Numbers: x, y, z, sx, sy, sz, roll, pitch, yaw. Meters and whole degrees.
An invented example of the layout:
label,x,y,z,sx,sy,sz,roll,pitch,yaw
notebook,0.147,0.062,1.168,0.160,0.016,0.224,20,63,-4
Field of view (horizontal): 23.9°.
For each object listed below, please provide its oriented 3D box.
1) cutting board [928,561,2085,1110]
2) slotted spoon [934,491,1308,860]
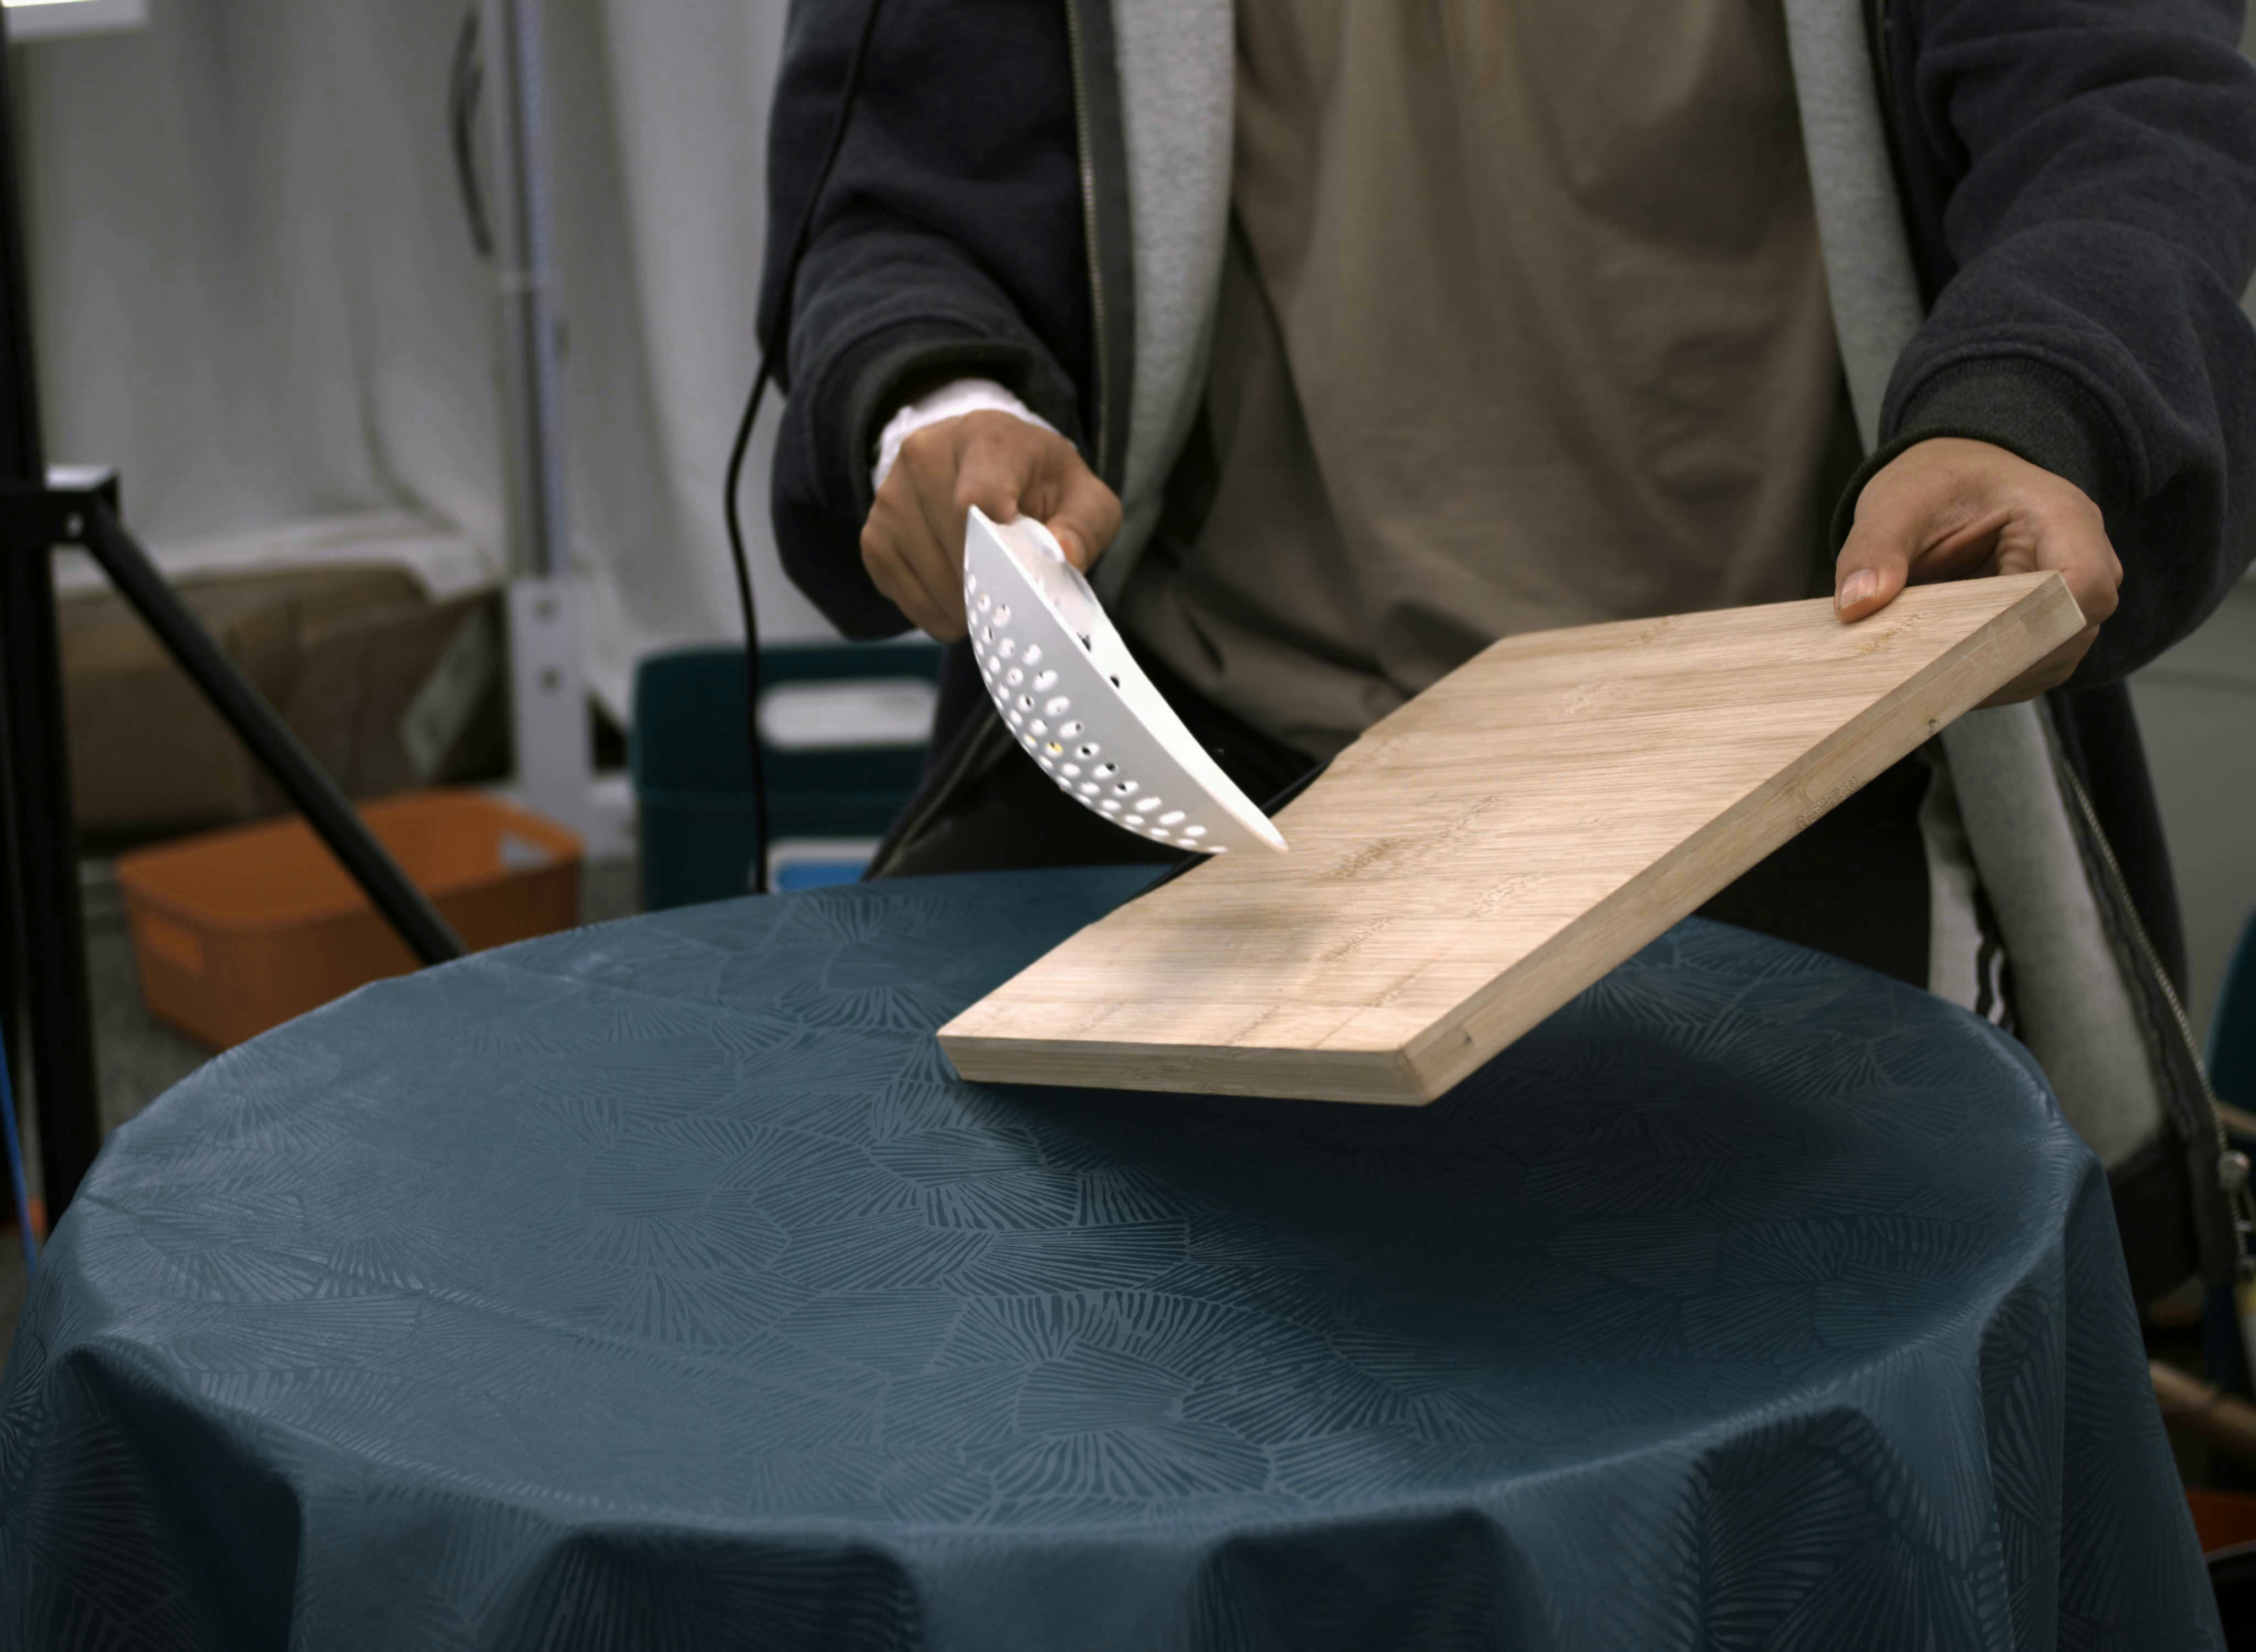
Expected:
label,x,y,z,sx,sy,sz,roll,pitch,yaw
cutting board,0.099,0.006,1.554,0.248,0.023,0.354,-35,11,-20
slotted spoon,-0.022,-0.064,1.646,0.050,0.135,0.351,-42,17,7
